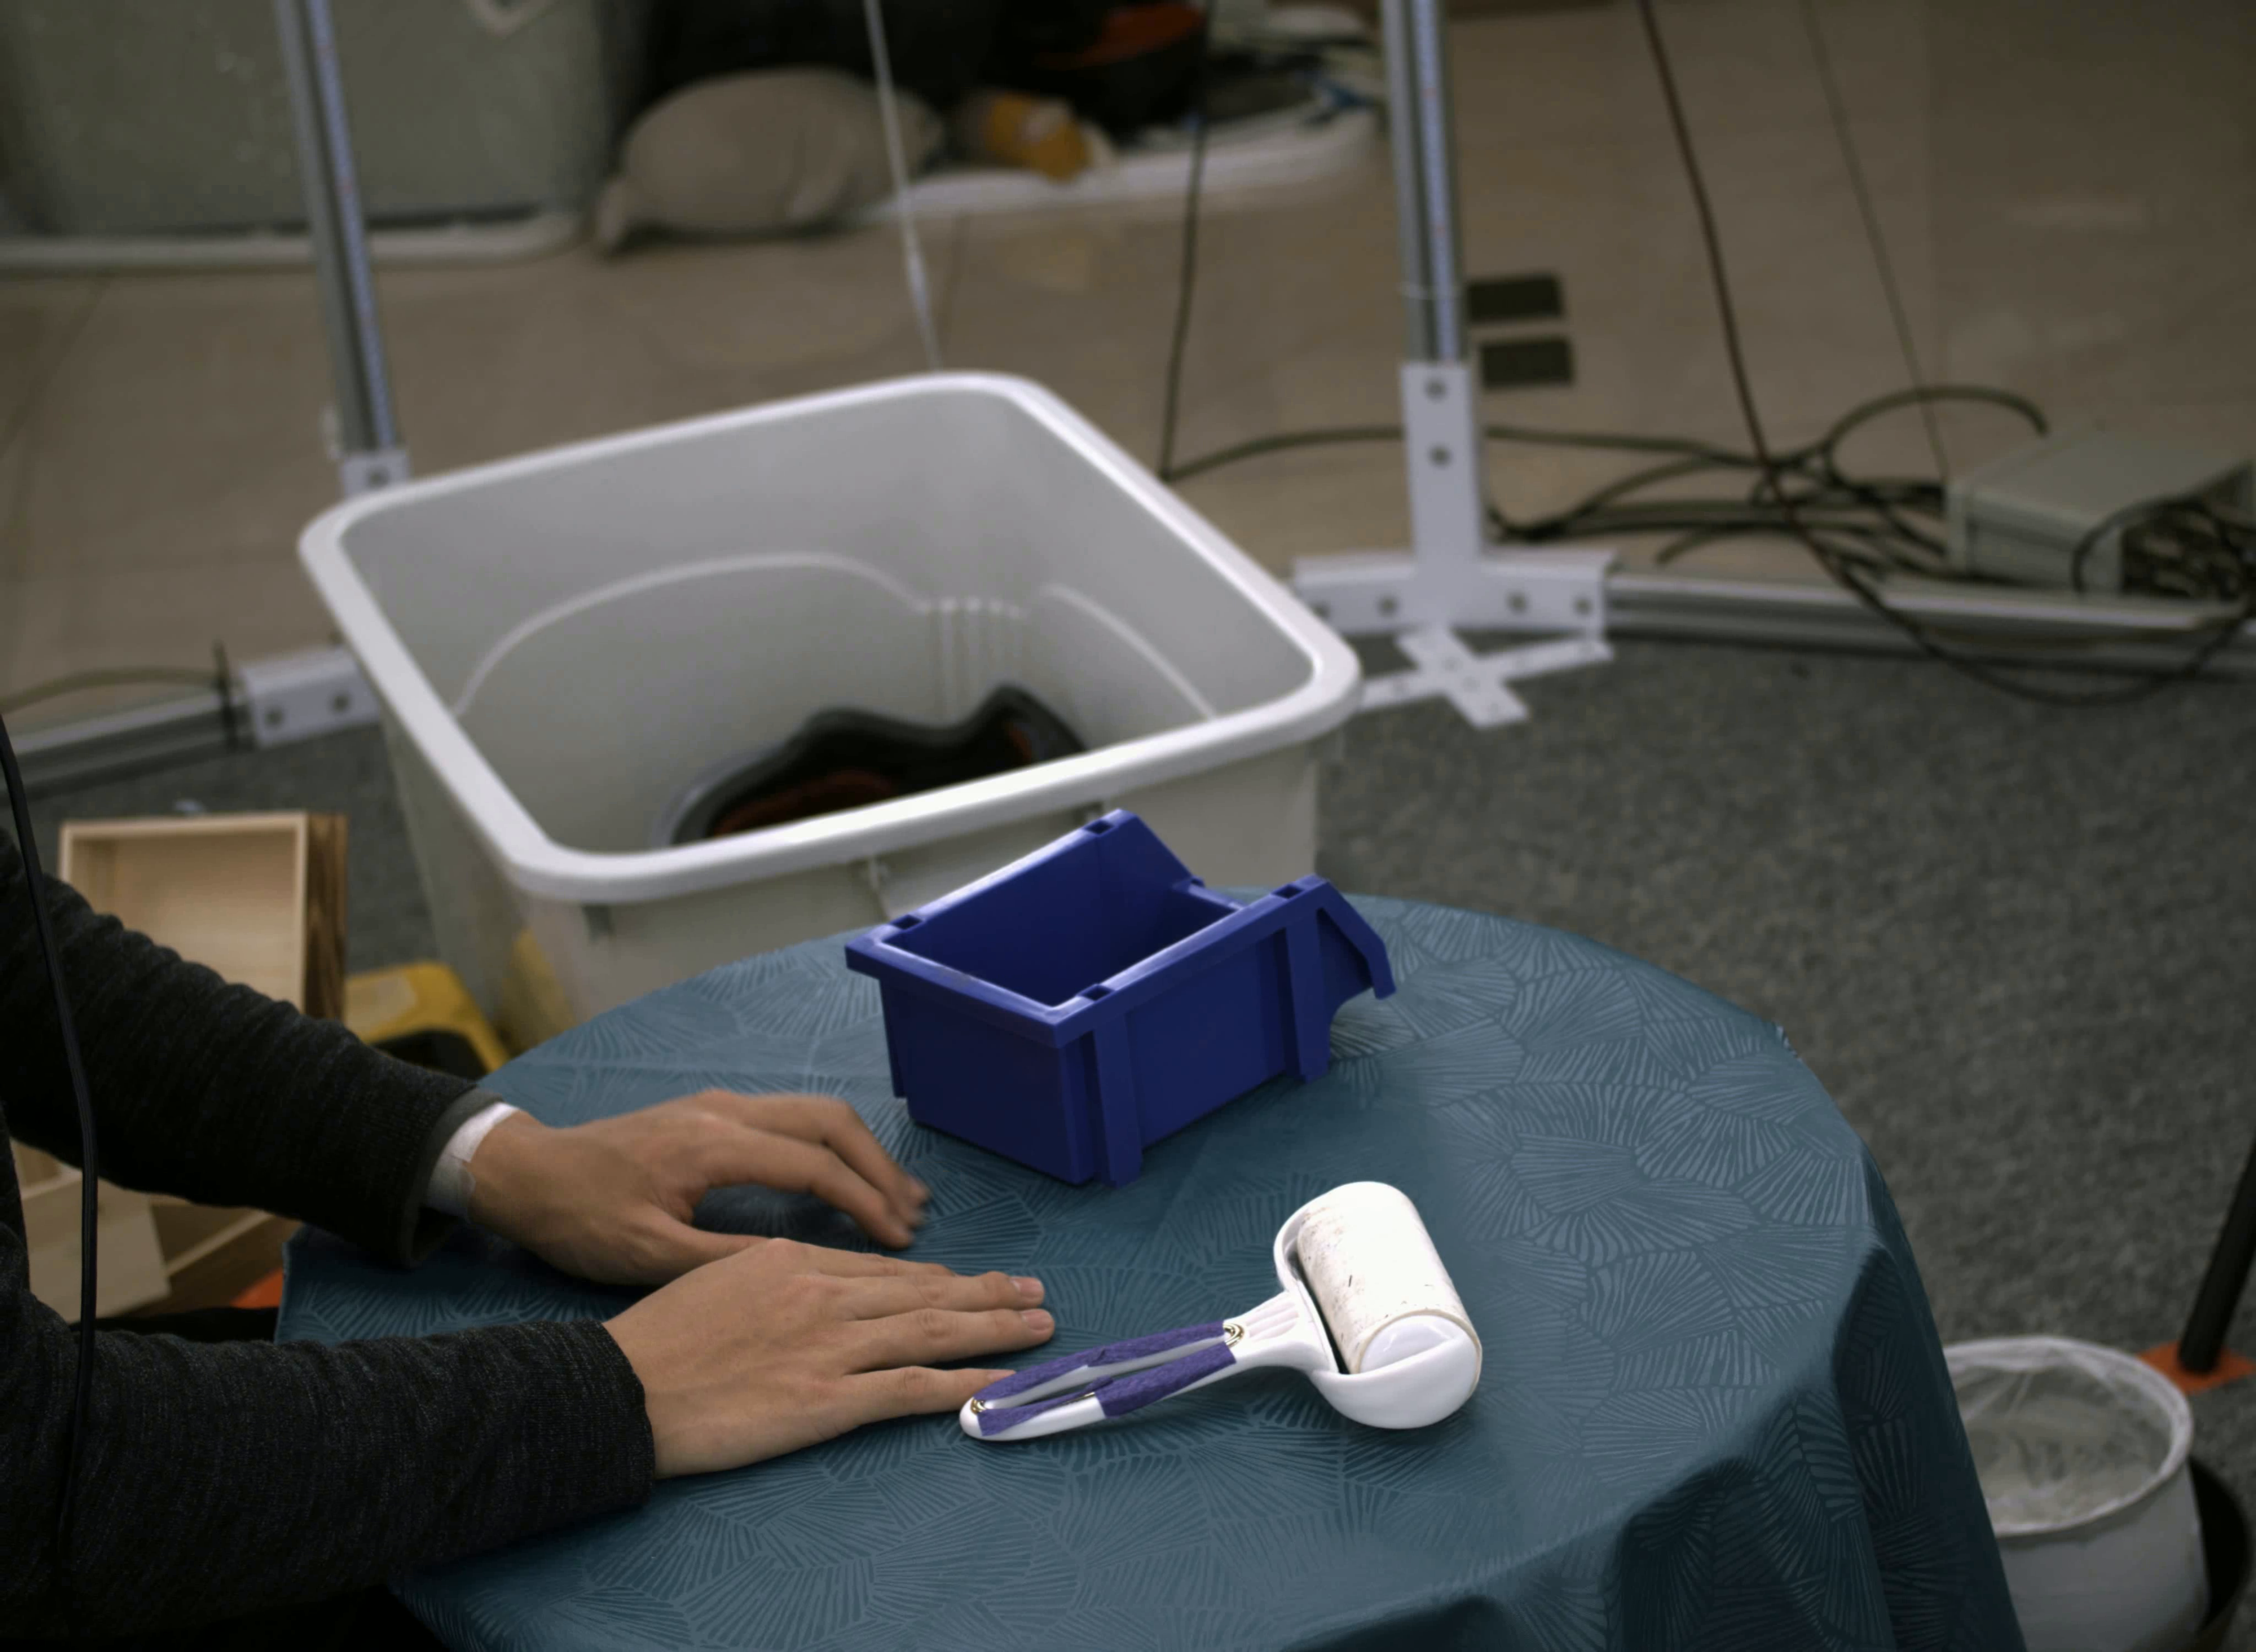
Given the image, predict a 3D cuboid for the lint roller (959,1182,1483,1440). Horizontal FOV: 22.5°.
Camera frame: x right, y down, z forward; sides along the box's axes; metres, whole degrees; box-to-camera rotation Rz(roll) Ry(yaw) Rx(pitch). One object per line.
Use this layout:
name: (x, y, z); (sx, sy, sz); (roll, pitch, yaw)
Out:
lint roller: (0.027, 0.178, 2.001); (0.180, 0.051, 0.131); (-8, 26, -5)

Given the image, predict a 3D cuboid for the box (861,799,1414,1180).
box: (0.004, 0.059, 2.220); (0.178, 0.083, 0.123); (-29, 33, -34)
